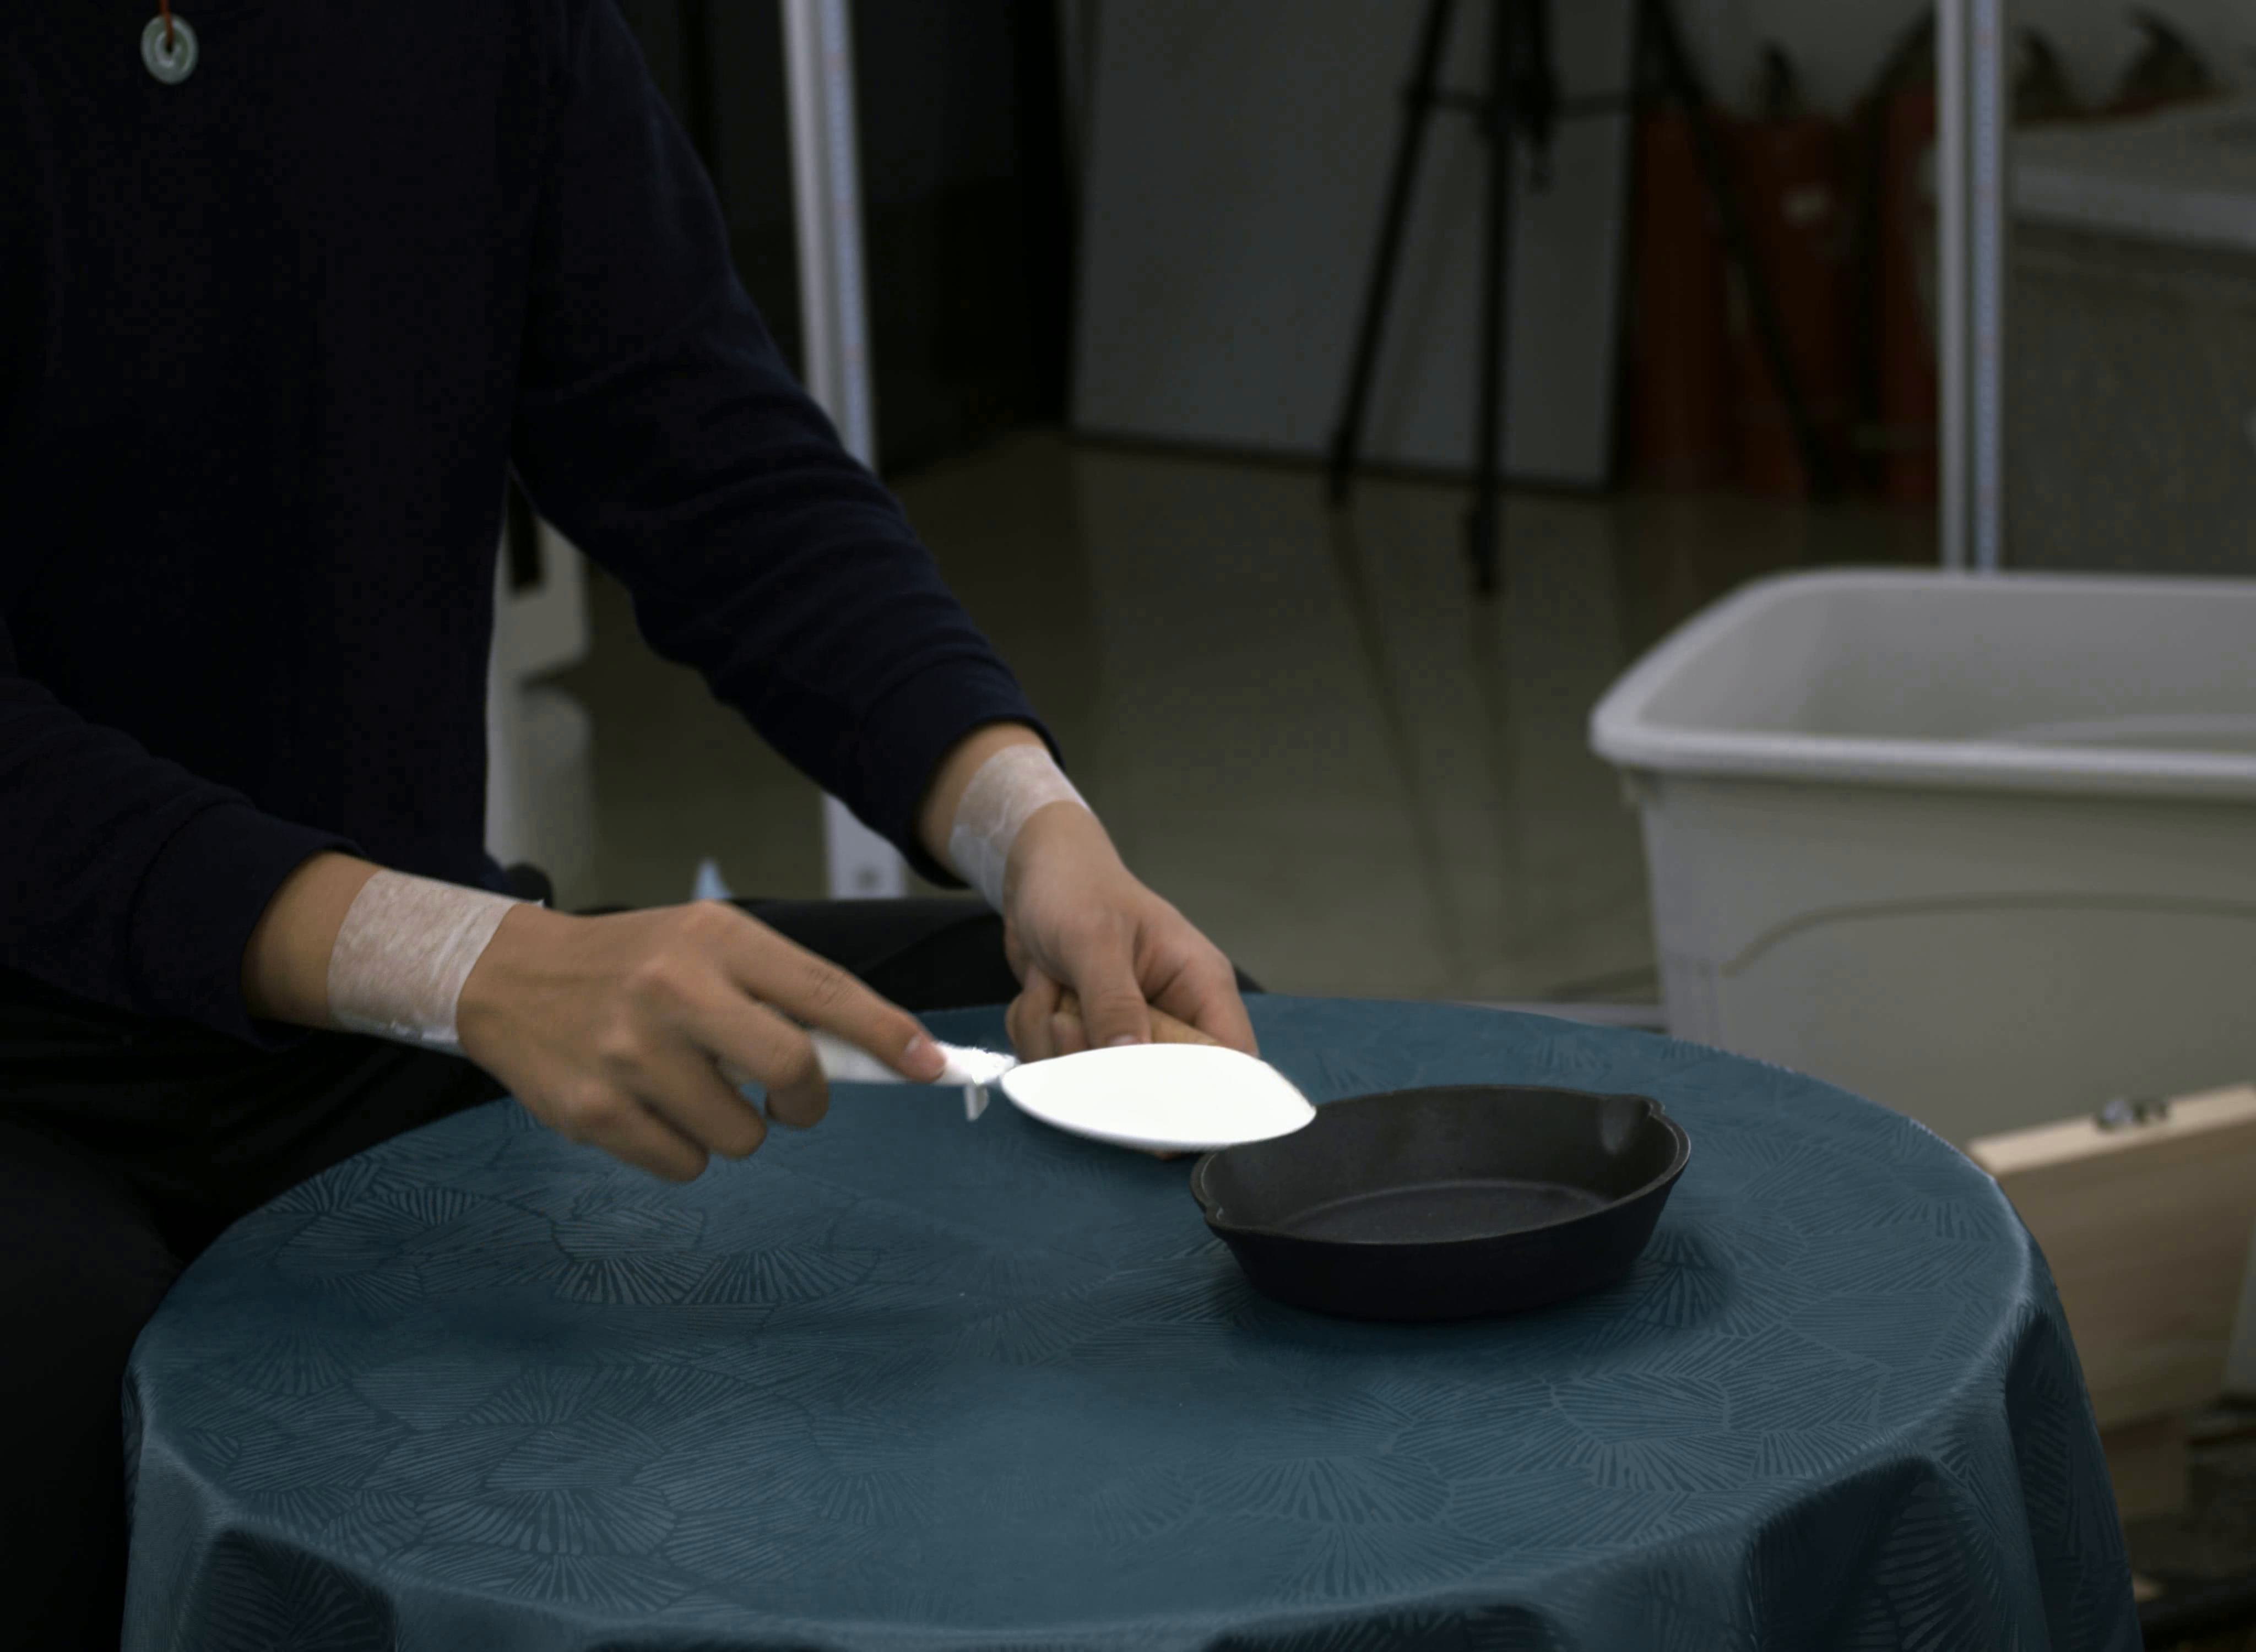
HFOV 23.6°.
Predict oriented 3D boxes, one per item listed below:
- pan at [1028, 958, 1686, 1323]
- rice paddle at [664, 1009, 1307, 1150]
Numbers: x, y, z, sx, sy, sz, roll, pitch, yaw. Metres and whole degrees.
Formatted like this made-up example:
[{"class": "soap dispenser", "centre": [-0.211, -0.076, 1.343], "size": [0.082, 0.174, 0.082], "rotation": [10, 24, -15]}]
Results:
[{"class": "pan", "centre": [0.055, 0.097, 1.747], "size": [0.165, 0.050, 0.327], "rotation": [-13, 16, -27]}, {"class": "rice paddle", "centre": [-0.043, 0.076, 1.646], "size": [0.205, 0.029, 0.068], "rotation": [3, 26, 19]}]
